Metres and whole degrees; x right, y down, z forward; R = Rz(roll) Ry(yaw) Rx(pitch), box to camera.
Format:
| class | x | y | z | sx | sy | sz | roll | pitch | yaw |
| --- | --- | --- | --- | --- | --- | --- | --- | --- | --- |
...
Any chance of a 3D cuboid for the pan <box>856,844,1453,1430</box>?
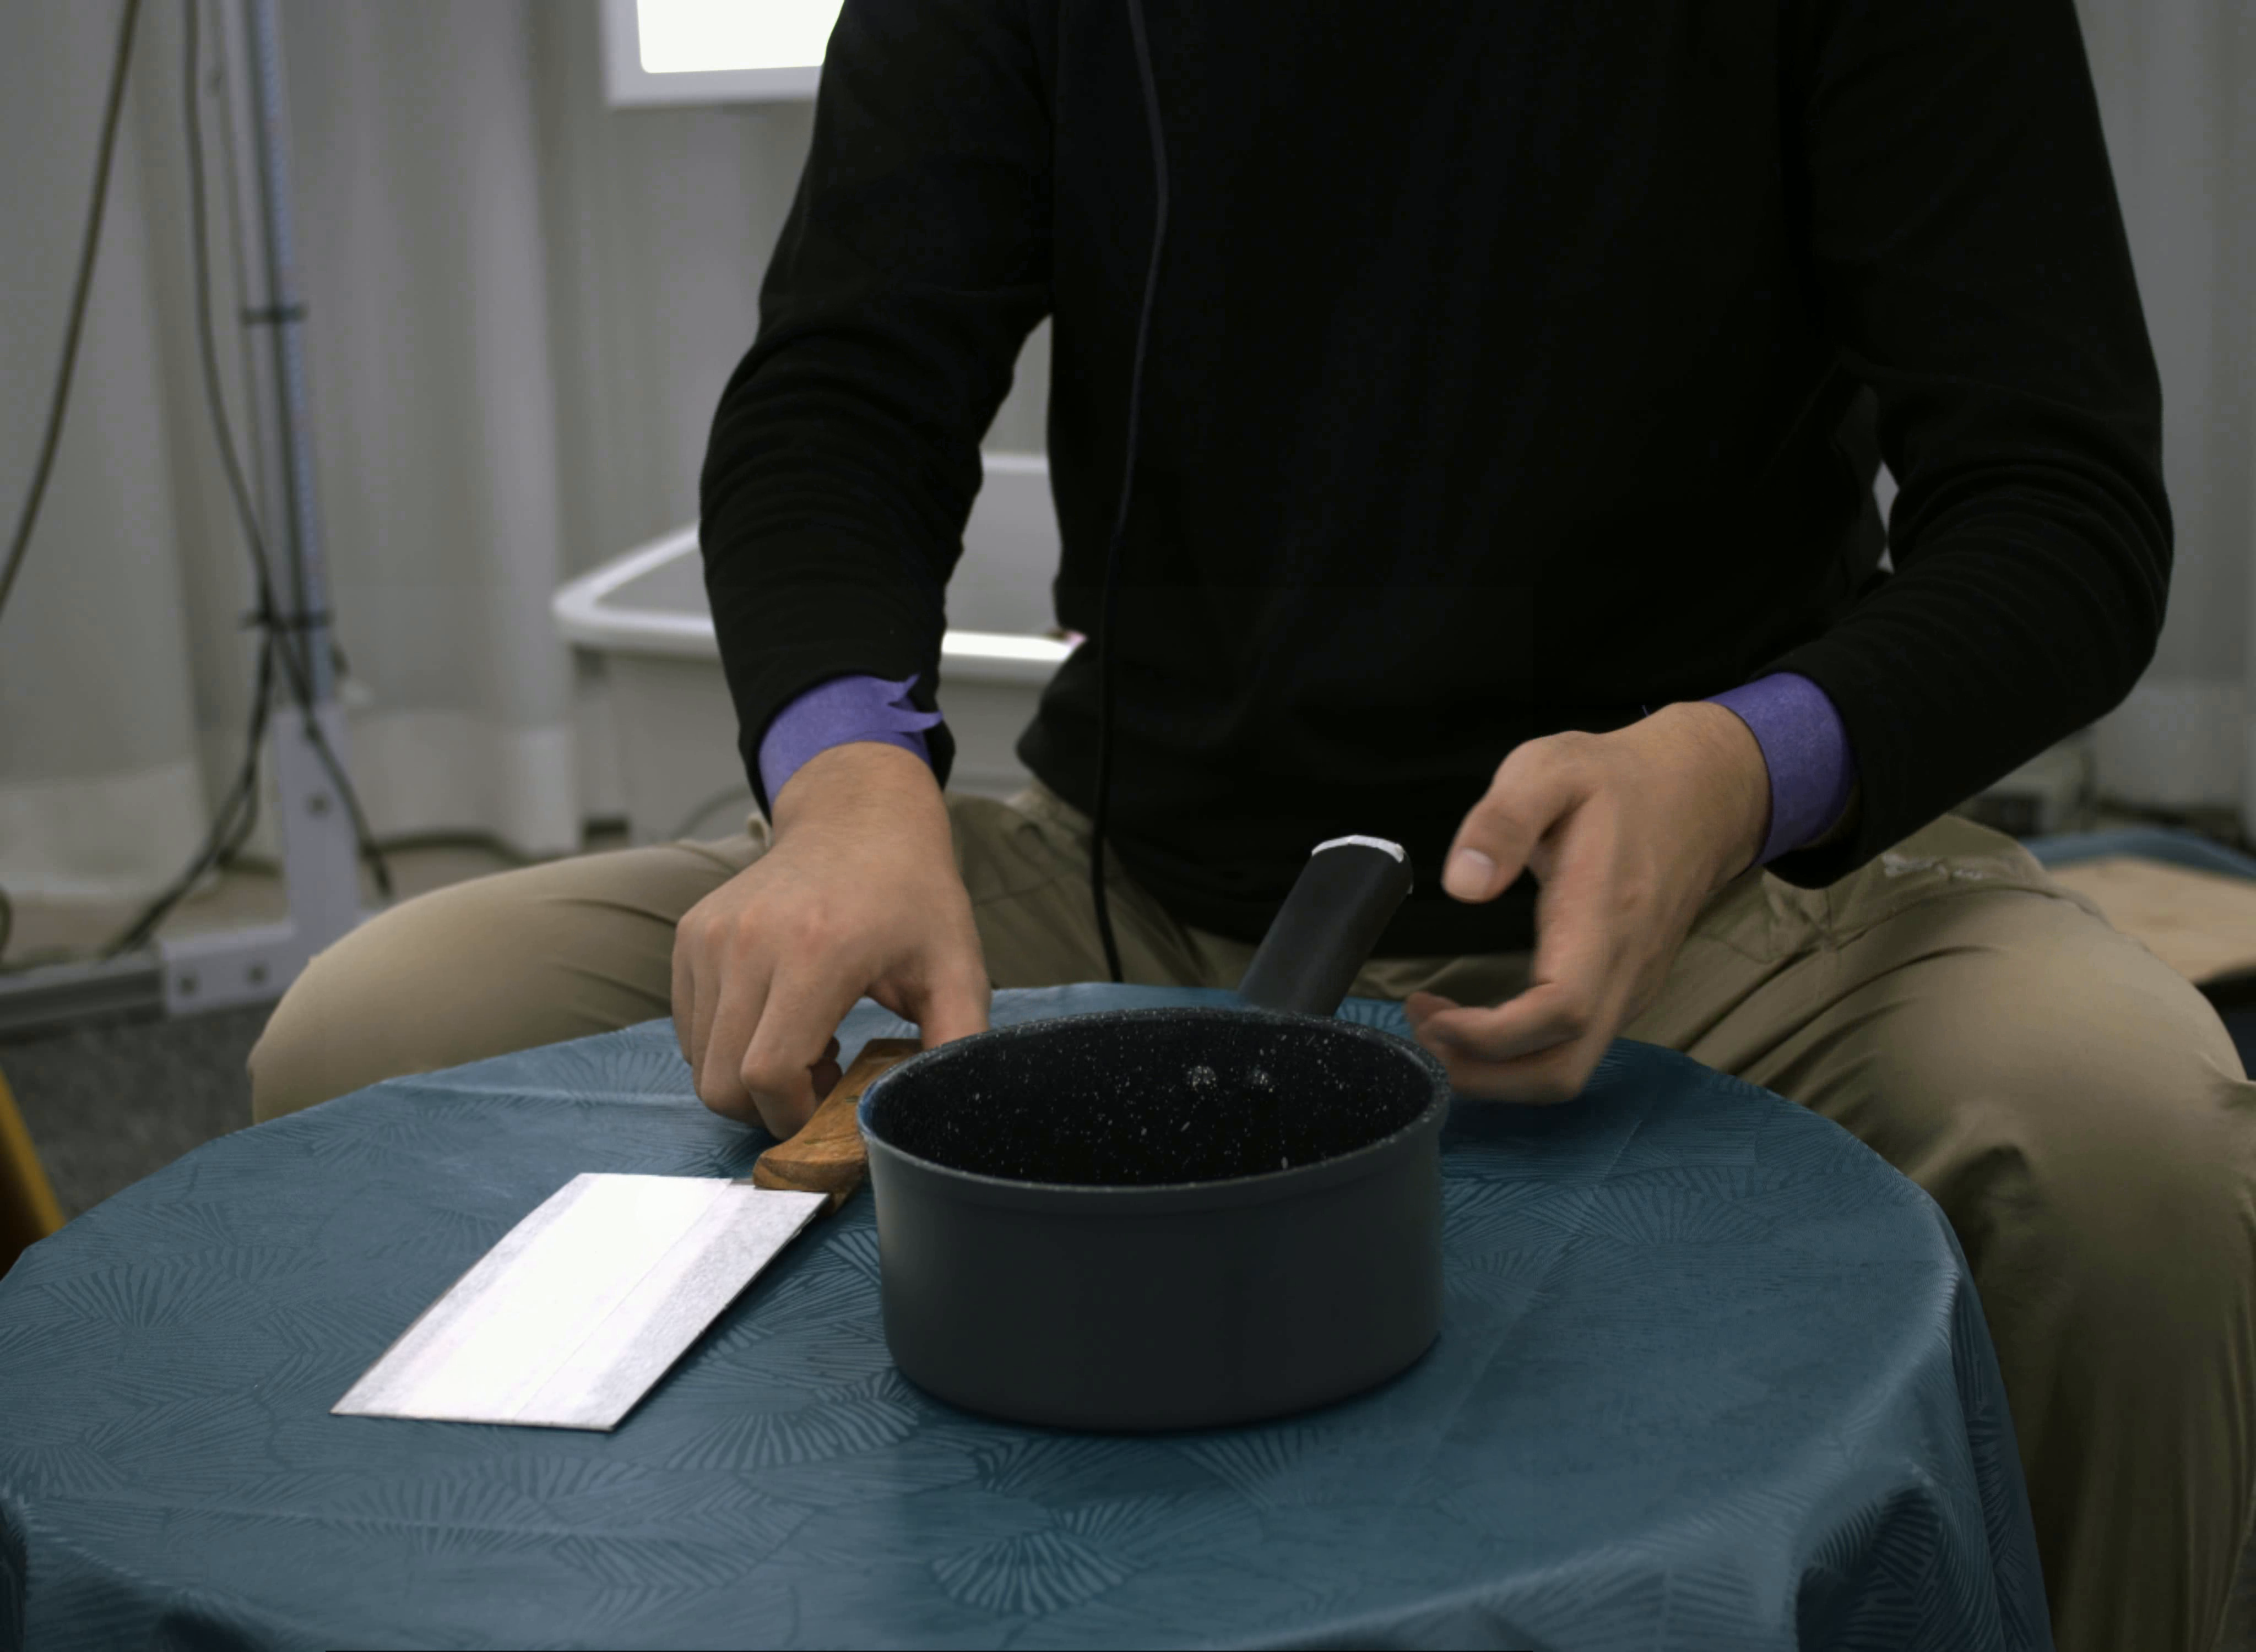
| class | x | y | z | sx | sy | sz | roll | pitch | yaw |
| --- | --- | --- | --- | --- | --- | --- | --- | --- | --- |
| pan | 0.035 | 0.090 | 1.645 | 0.172 | 0.086 | 0.330 | 3 | 16 | 19 |

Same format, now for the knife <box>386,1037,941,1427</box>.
| class | x | y | z | sx | sy | sz | roll | pitch | yaw |
| --- | --- | --- | --- | --- | --- | --- | --- | --- | --- |
| knife | -0.141 | 0.123 | 1.682 | 0.093 | 0.021 | 0.307 | 1 | 18 | 17 |
